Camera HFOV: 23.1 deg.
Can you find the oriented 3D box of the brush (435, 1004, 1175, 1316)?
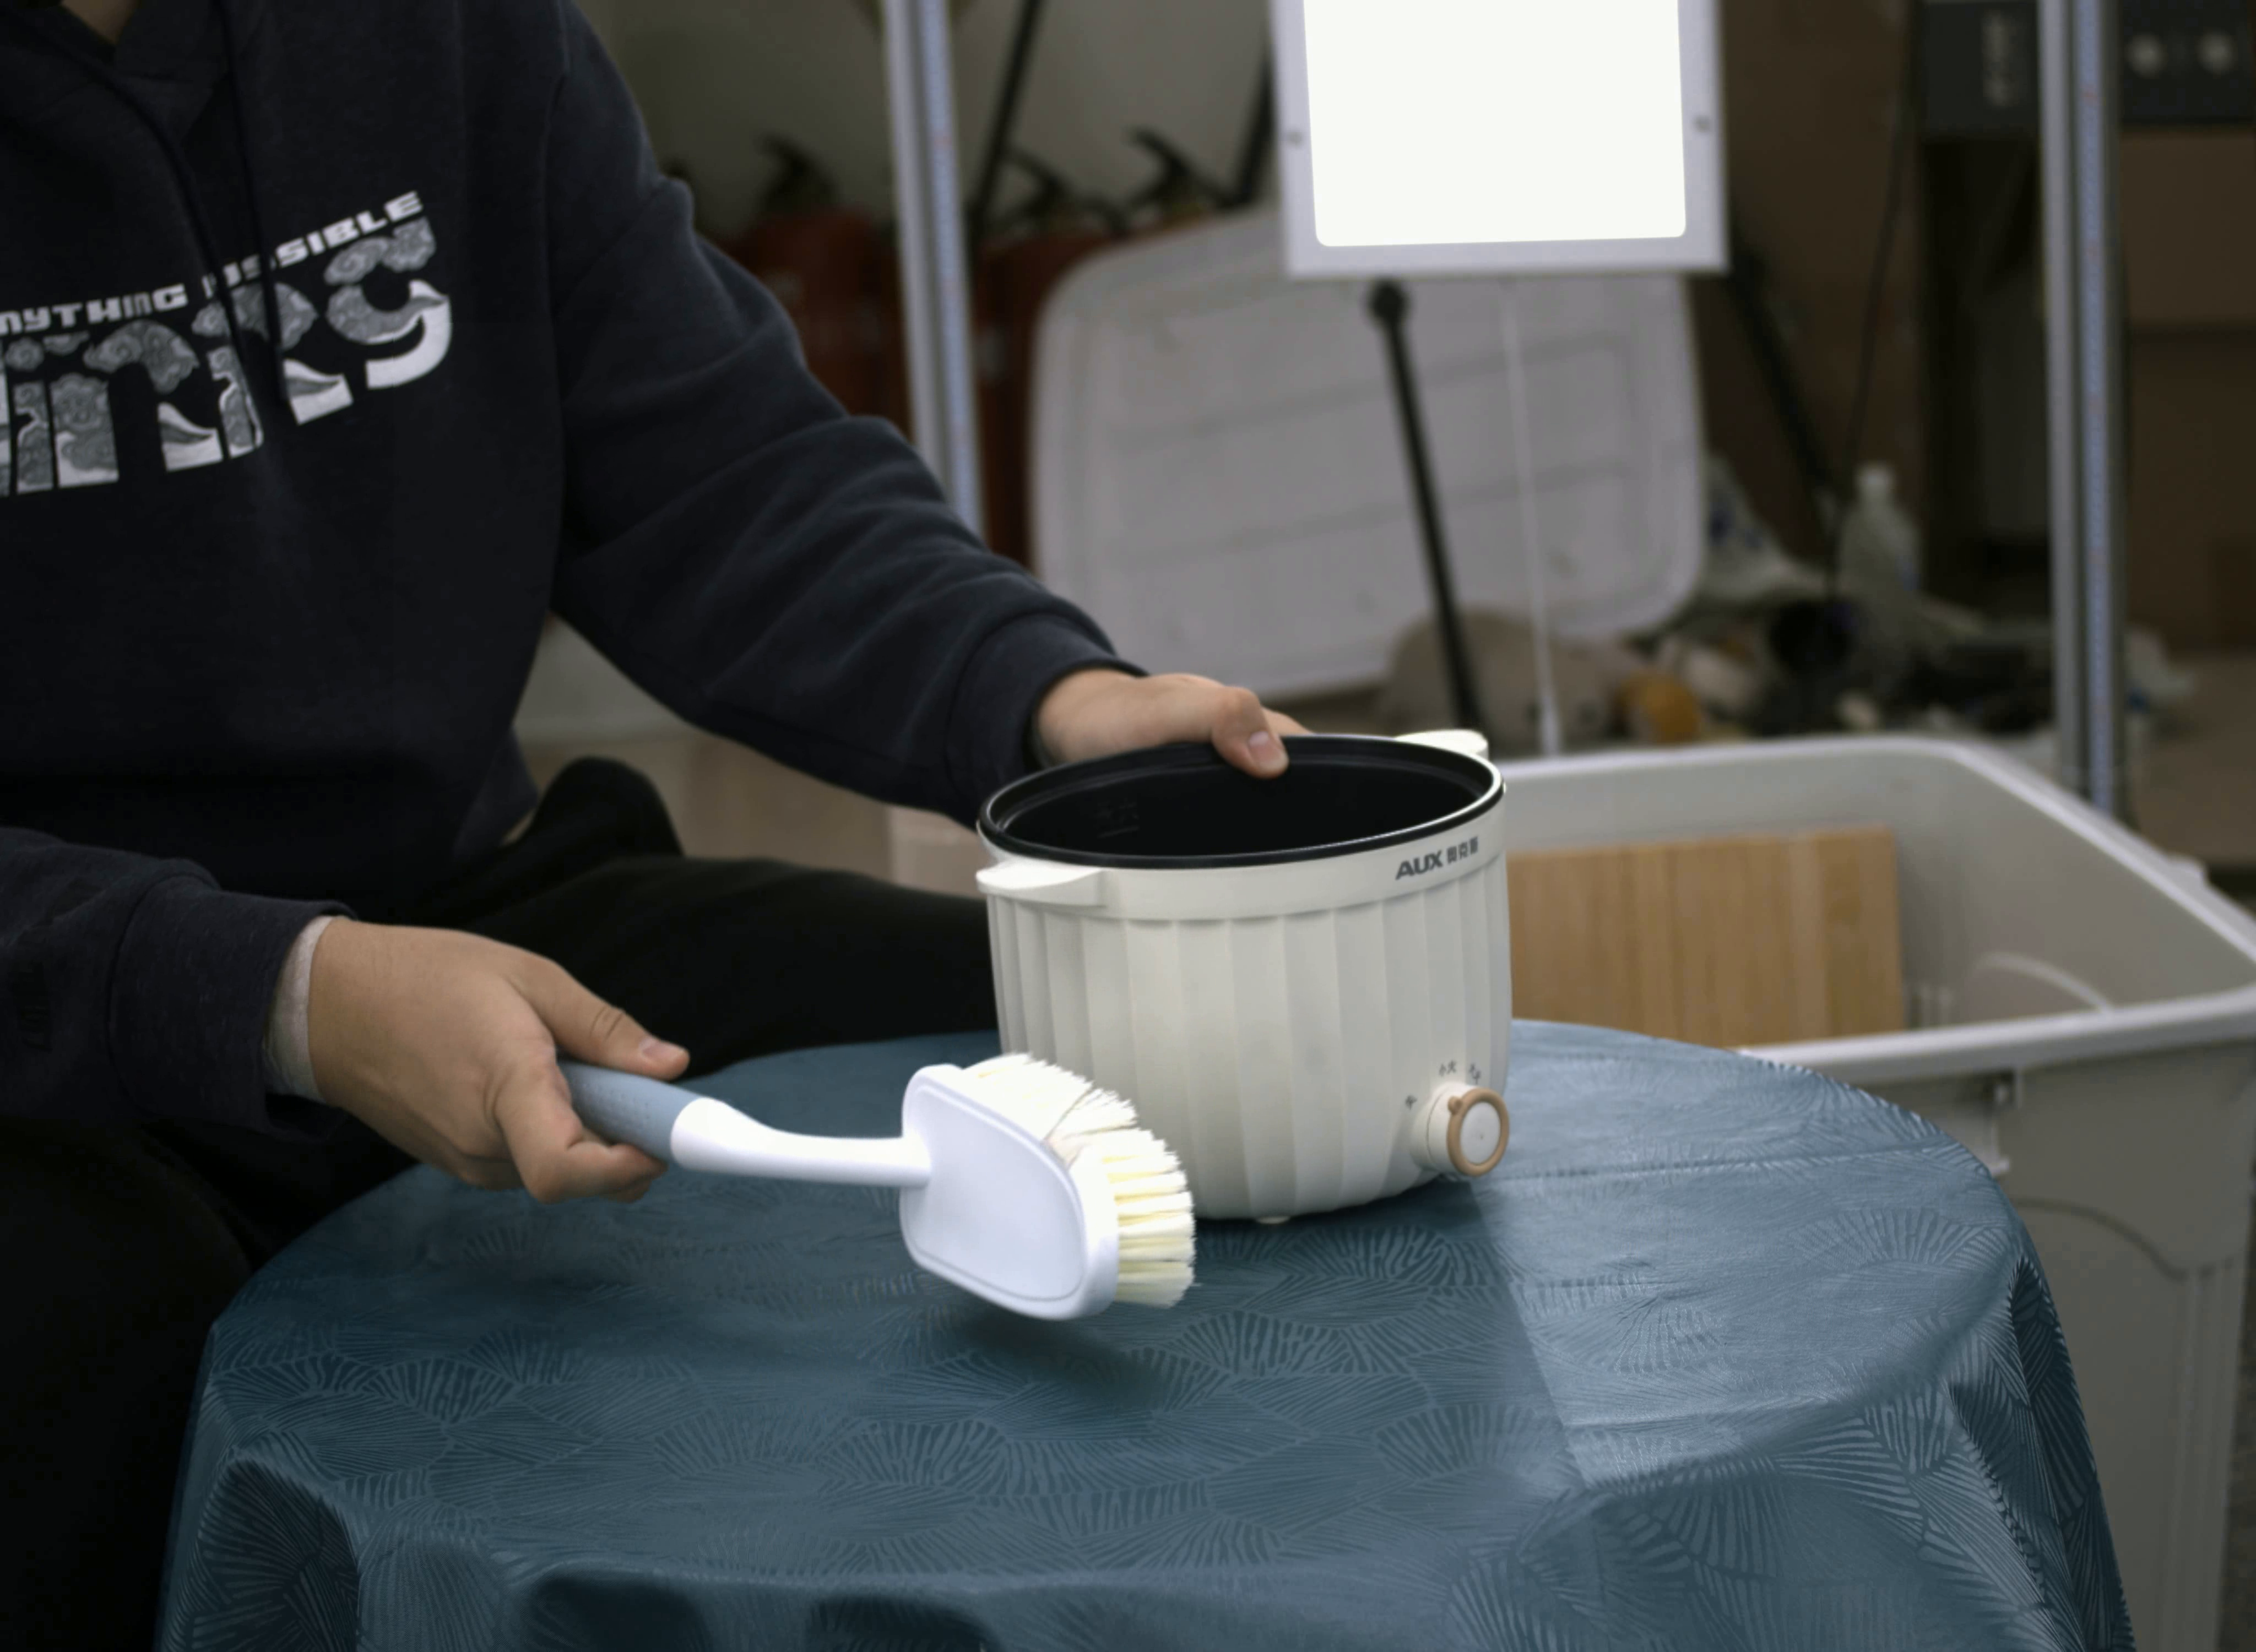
[{"bbox_3d":[-0.098,0.093,1.806,0.332,0.082,0.083,15,-18,44],"label":"brush"}]

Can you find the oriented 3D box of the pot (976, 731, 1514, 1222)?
[{"bbox_3d":[0.048,0.053,1.890,0.195,0.143,0.234,5,17,45],"label":"pot"}]
